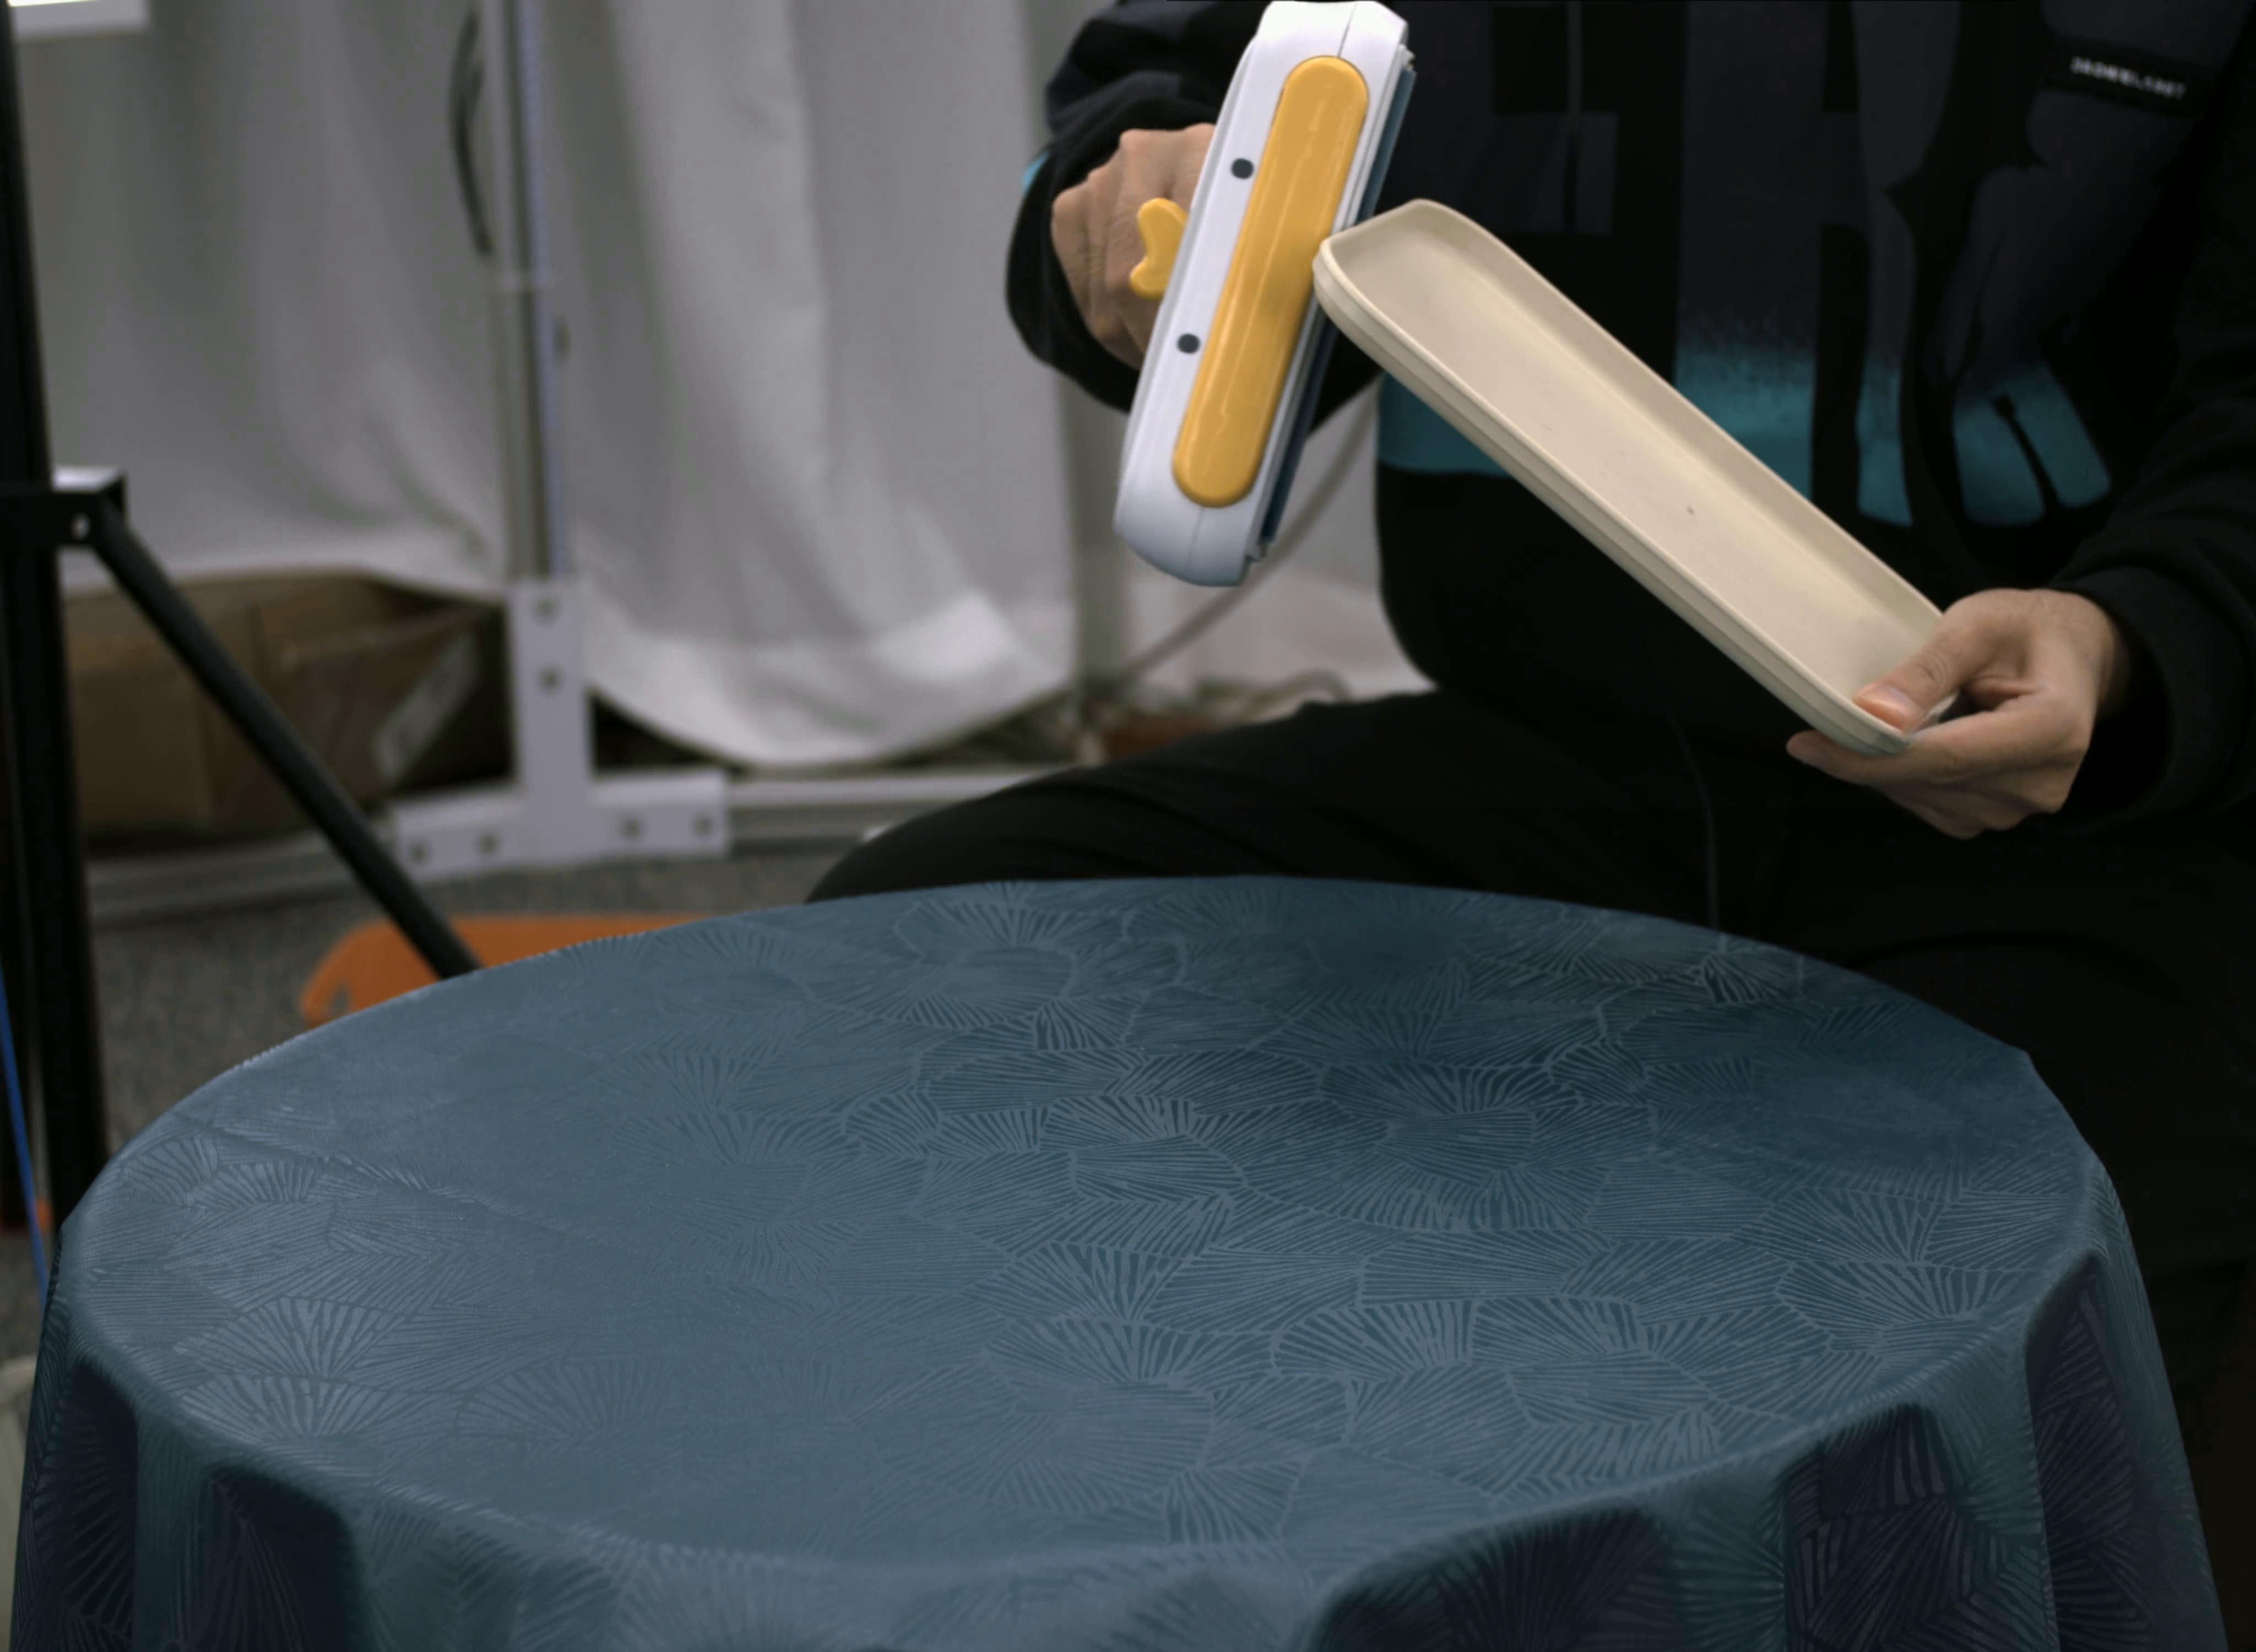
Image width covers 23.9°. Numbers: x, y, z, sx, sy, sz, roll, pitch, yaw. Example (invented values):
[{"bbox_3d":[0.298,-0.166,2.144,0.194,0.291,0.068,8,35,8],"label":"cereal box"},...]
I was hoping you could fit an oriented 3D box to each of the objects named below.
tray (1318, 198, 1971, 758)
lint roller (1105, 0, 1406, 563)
[{"bbox_3d":[0.162,-0.109,1.667,0.241,0.017,0.169,41,19,7],"label":"tray"},{"bbox_3d":[0.031,-0.179,1.750,0.073,0.194,0.193,13,-2,-4],"label":"lint roller"}]
